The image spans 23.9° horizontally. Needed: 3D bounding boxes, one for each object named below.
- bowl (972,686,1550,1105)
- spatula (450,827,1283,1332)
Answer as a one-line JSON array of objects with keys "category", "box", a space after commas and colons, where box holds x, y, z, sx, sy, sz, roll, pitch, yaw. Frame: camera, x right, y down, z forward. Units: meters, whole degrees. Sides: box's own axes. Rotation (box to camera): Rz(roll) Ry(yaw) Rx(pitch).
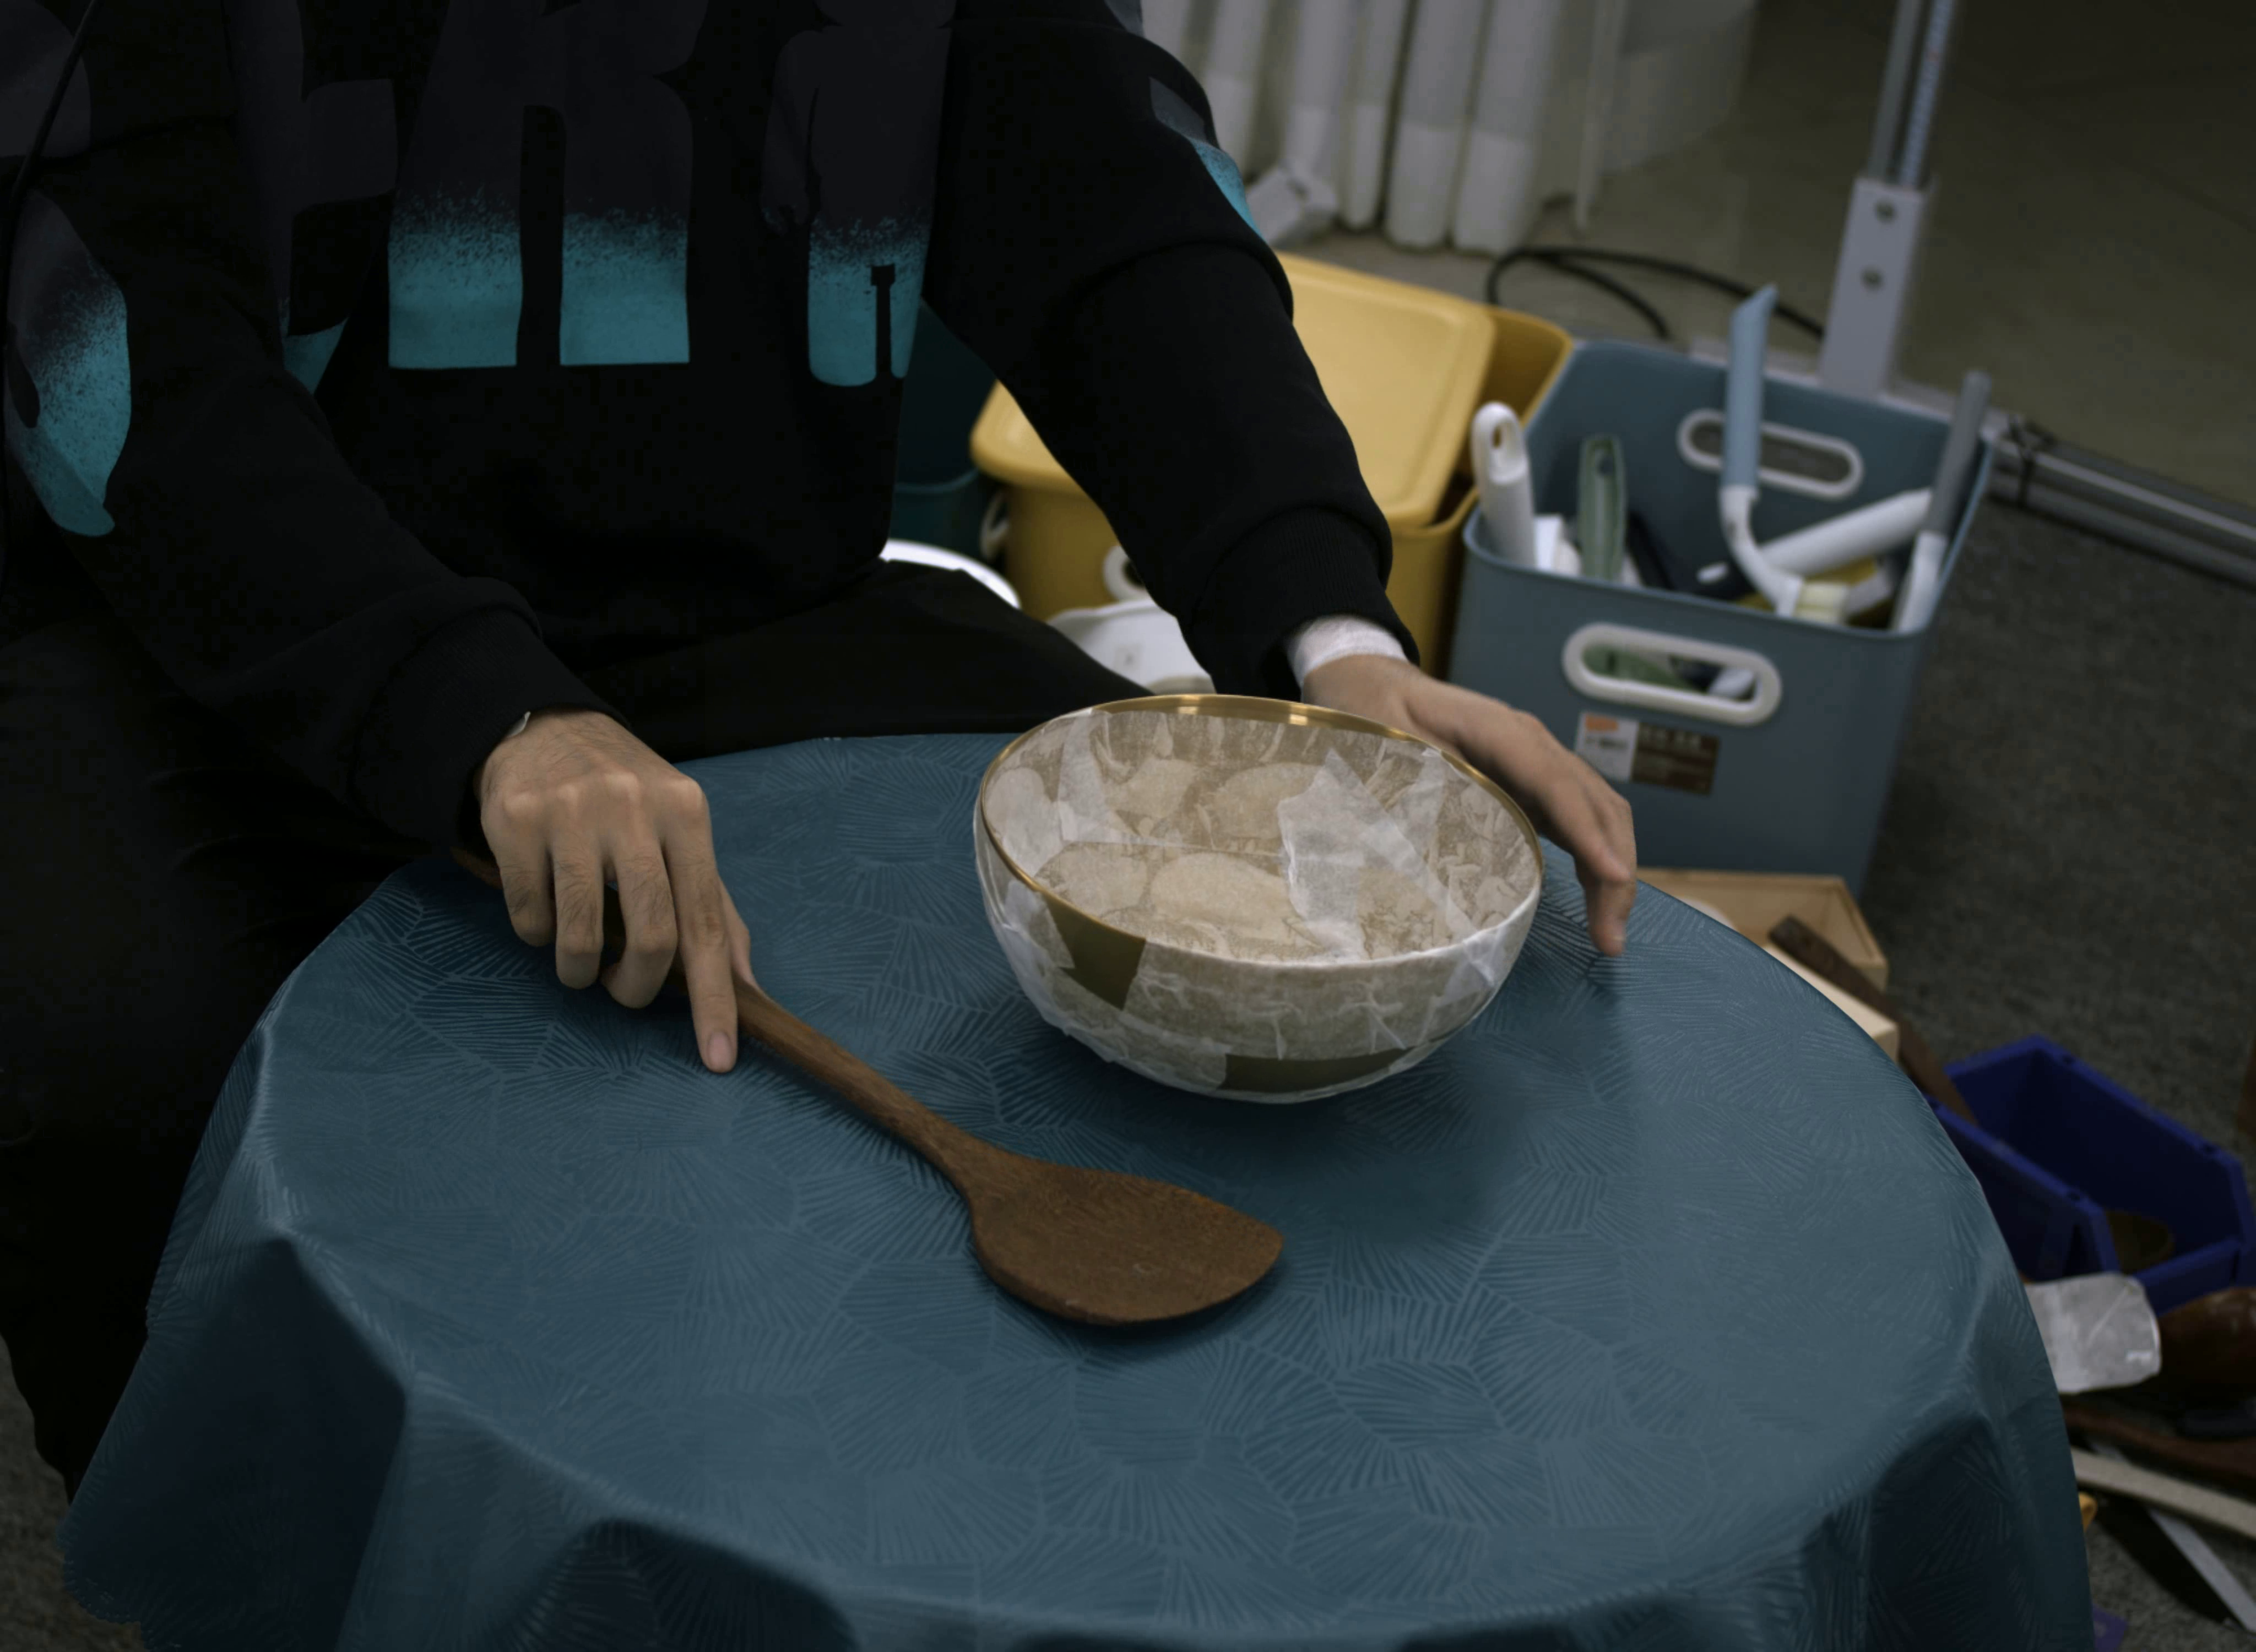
[{"category": "bowl", "box": [0.044, 0.036, 1.879, 0.214, 0.094, 0.216, 4, 27, -2]}, {"category": "spatula", "box": [-0.108, 0.079, 1.838, 0.389, 0.016, 0.095, 30, 34, 35]}]
